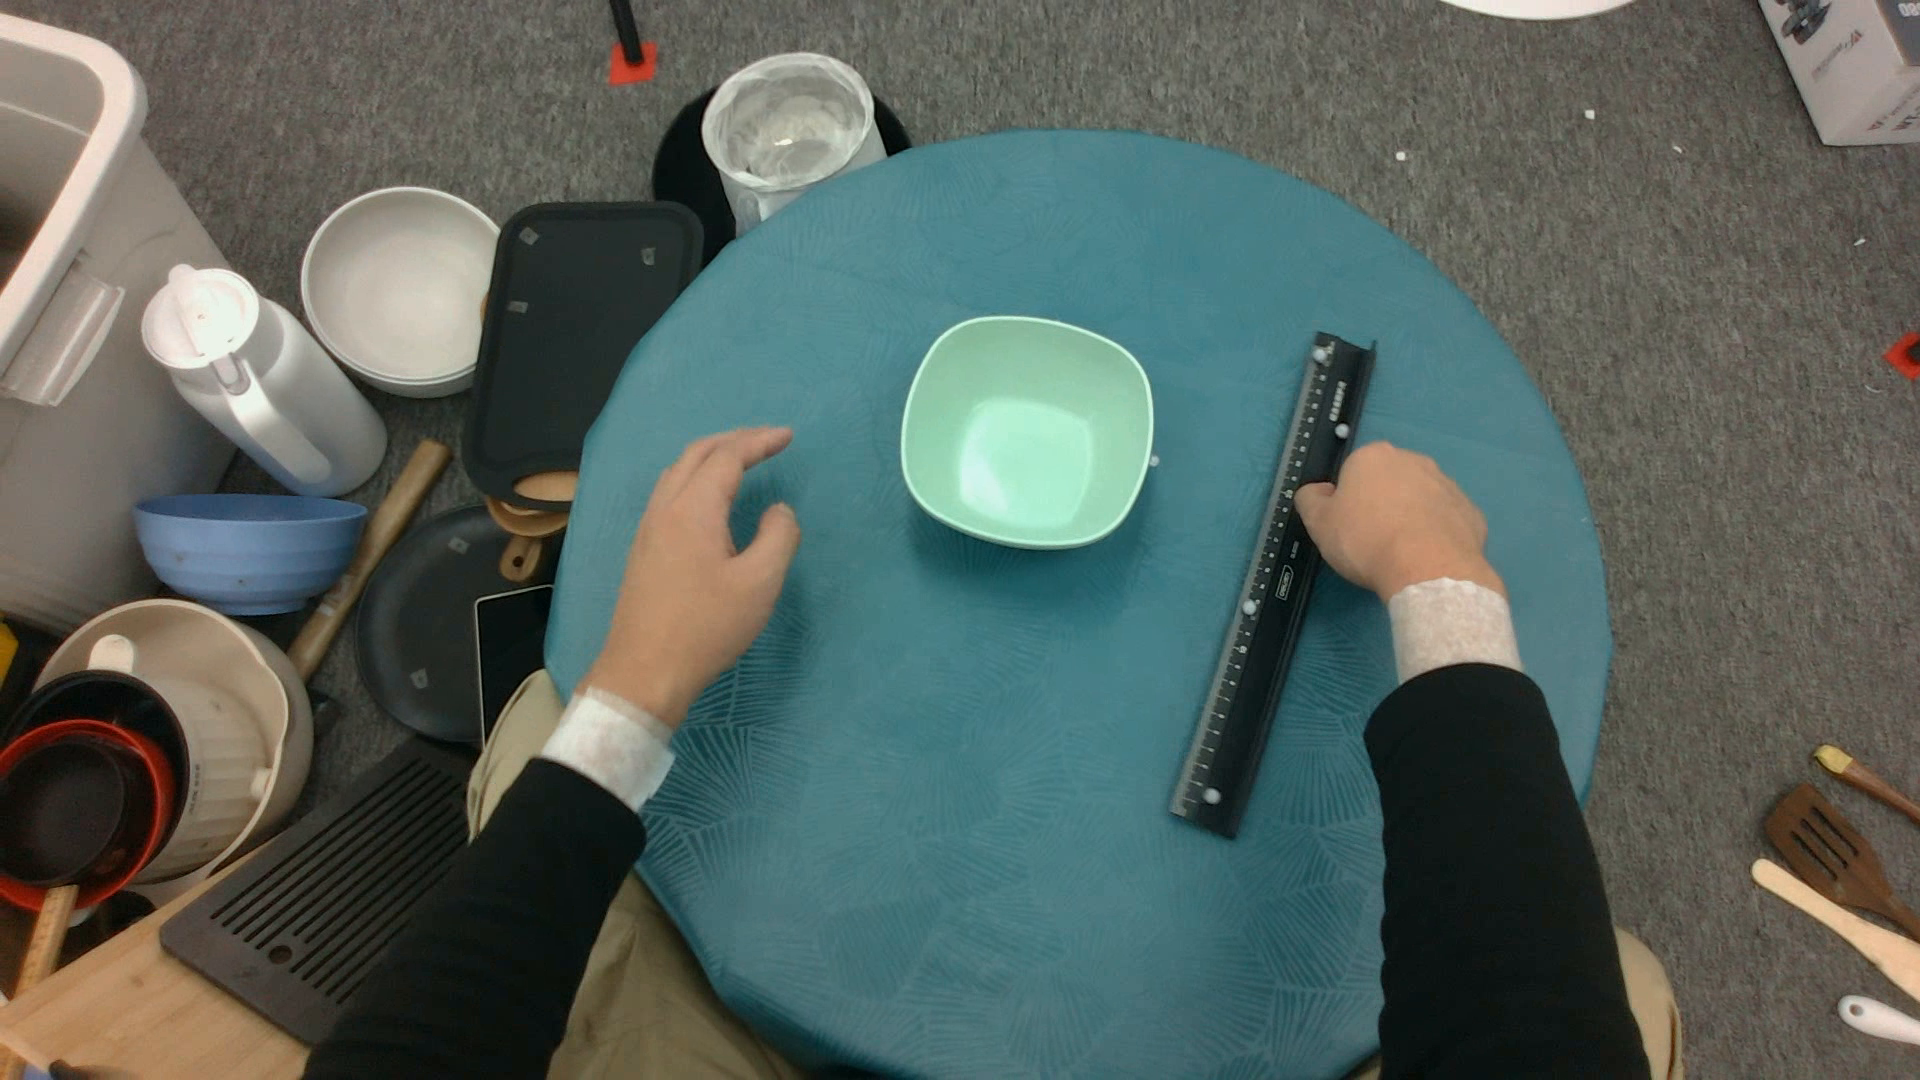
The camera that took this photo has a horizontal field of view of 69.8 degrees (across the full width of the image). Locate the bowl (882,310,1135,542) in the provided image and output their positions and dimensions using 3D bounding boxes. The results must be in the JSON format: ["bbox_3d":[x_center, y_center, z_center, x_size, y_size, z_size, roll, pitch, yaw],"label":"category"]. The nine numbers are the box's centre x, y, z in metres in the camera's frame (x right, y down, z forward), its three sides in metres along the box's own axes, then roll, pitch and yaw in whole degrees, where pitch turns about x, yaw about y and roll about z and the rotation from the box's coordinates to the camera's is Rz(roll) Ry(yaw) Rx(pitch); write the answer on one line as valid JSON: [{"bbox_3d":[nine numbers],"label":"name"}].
[{"bbox_3d":[0.026,-0.056,0.786,0.151,0.058,0.152,1,67,-3],"label":"bowl"}]

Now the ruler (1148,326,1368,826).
[{"bbox_3d":[0.175,0.009,0.780,0.039,0.017,0.313,24,70,-1],"label":"ruler"}]
